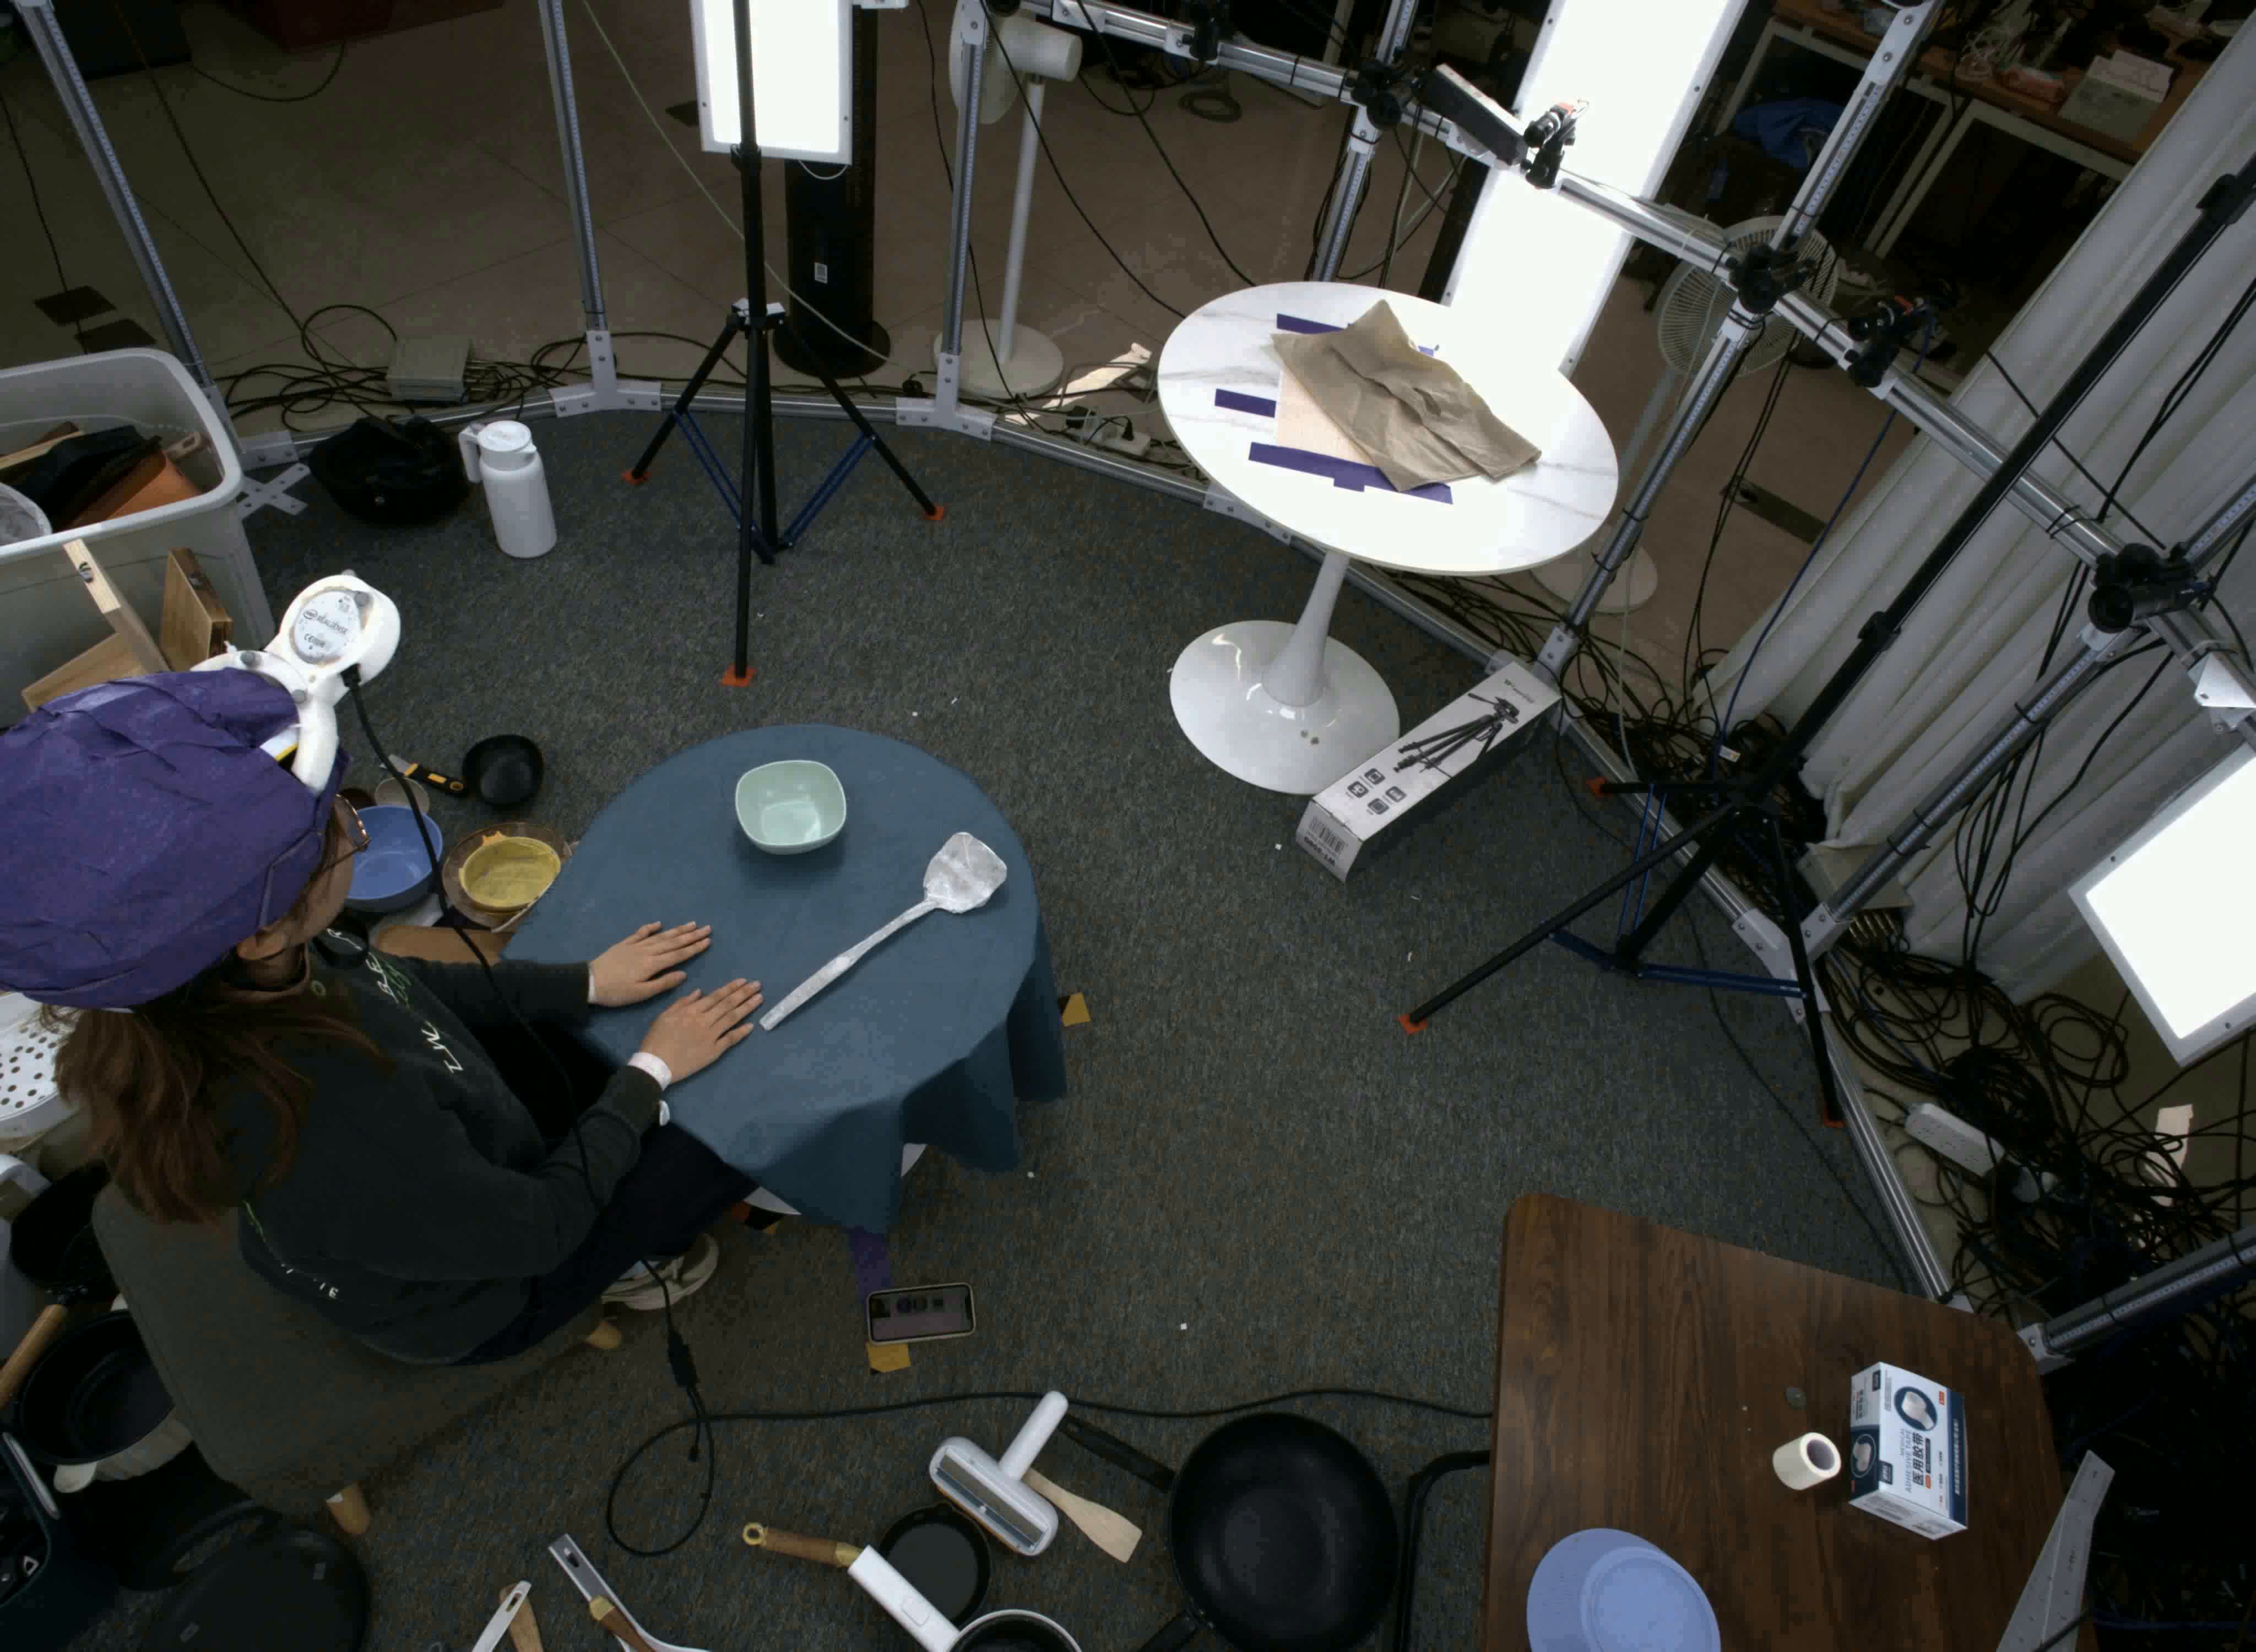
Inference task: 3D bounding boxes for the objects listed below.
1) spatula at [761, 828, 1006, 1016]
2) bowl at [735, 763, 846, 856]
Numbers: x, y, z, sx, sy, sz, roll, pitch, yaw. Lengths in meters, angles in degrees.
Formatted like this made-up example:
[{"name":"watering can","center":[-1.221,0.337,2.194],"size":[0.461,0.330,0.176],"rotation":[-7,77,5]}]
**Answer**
[{"name":"spatula","center":[-0.309,0.127,1.639],"size":[0.097,0.045,0.365],"rotation":[43,55,16]},{"name":"bowl","center":[-0.442,-0.013,1.698],"size":[0.151,0.060,0.148],"rotation":[8,49,-8]}]
